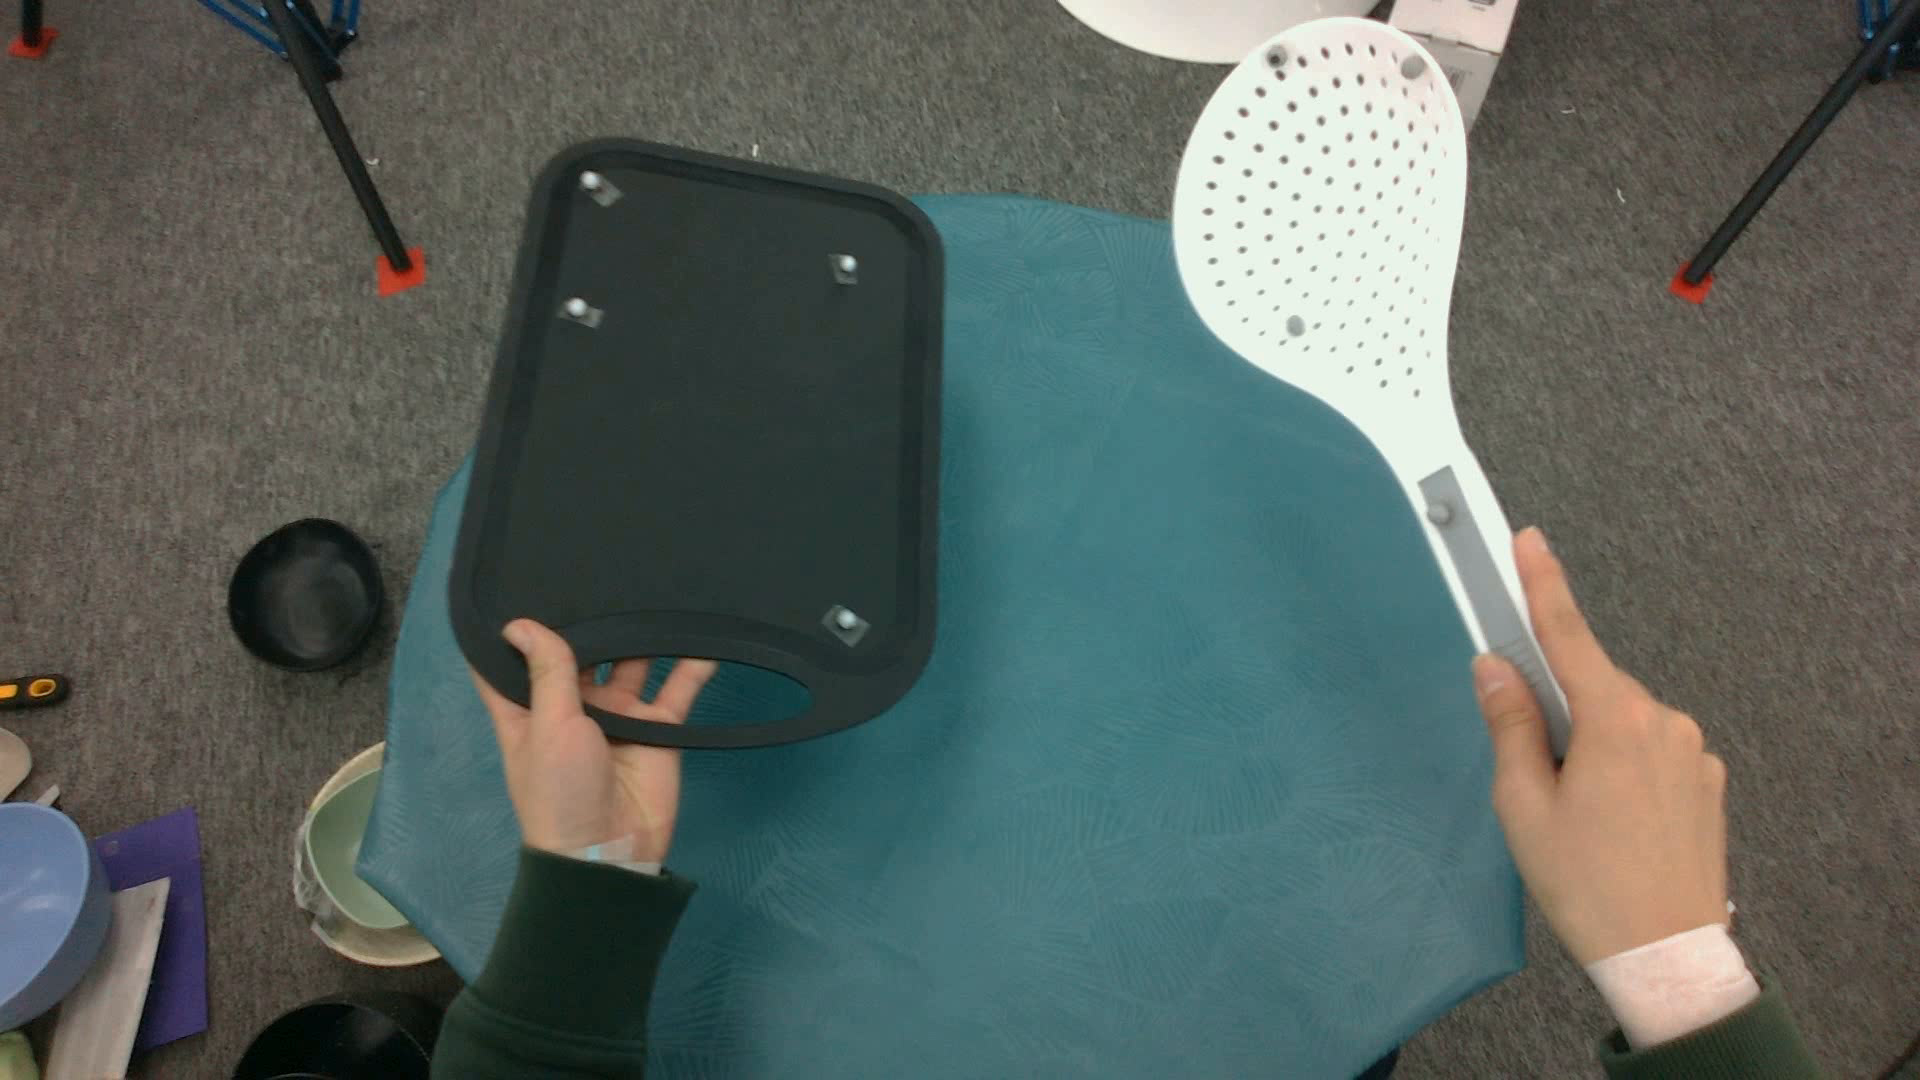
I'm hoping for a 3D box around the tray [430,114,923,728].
[{"bbox_3d":[-0.120,-0.067,0.644,0.211,0.010,0.326,7,61,-14],"label":"tray"}]

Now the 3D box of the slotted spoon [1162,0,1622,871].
[{"bbox_3d":[0.168,-0.048,0.526,0.046,0.135,0.350,2,65,-36],"label":"slotted spoon"}]
